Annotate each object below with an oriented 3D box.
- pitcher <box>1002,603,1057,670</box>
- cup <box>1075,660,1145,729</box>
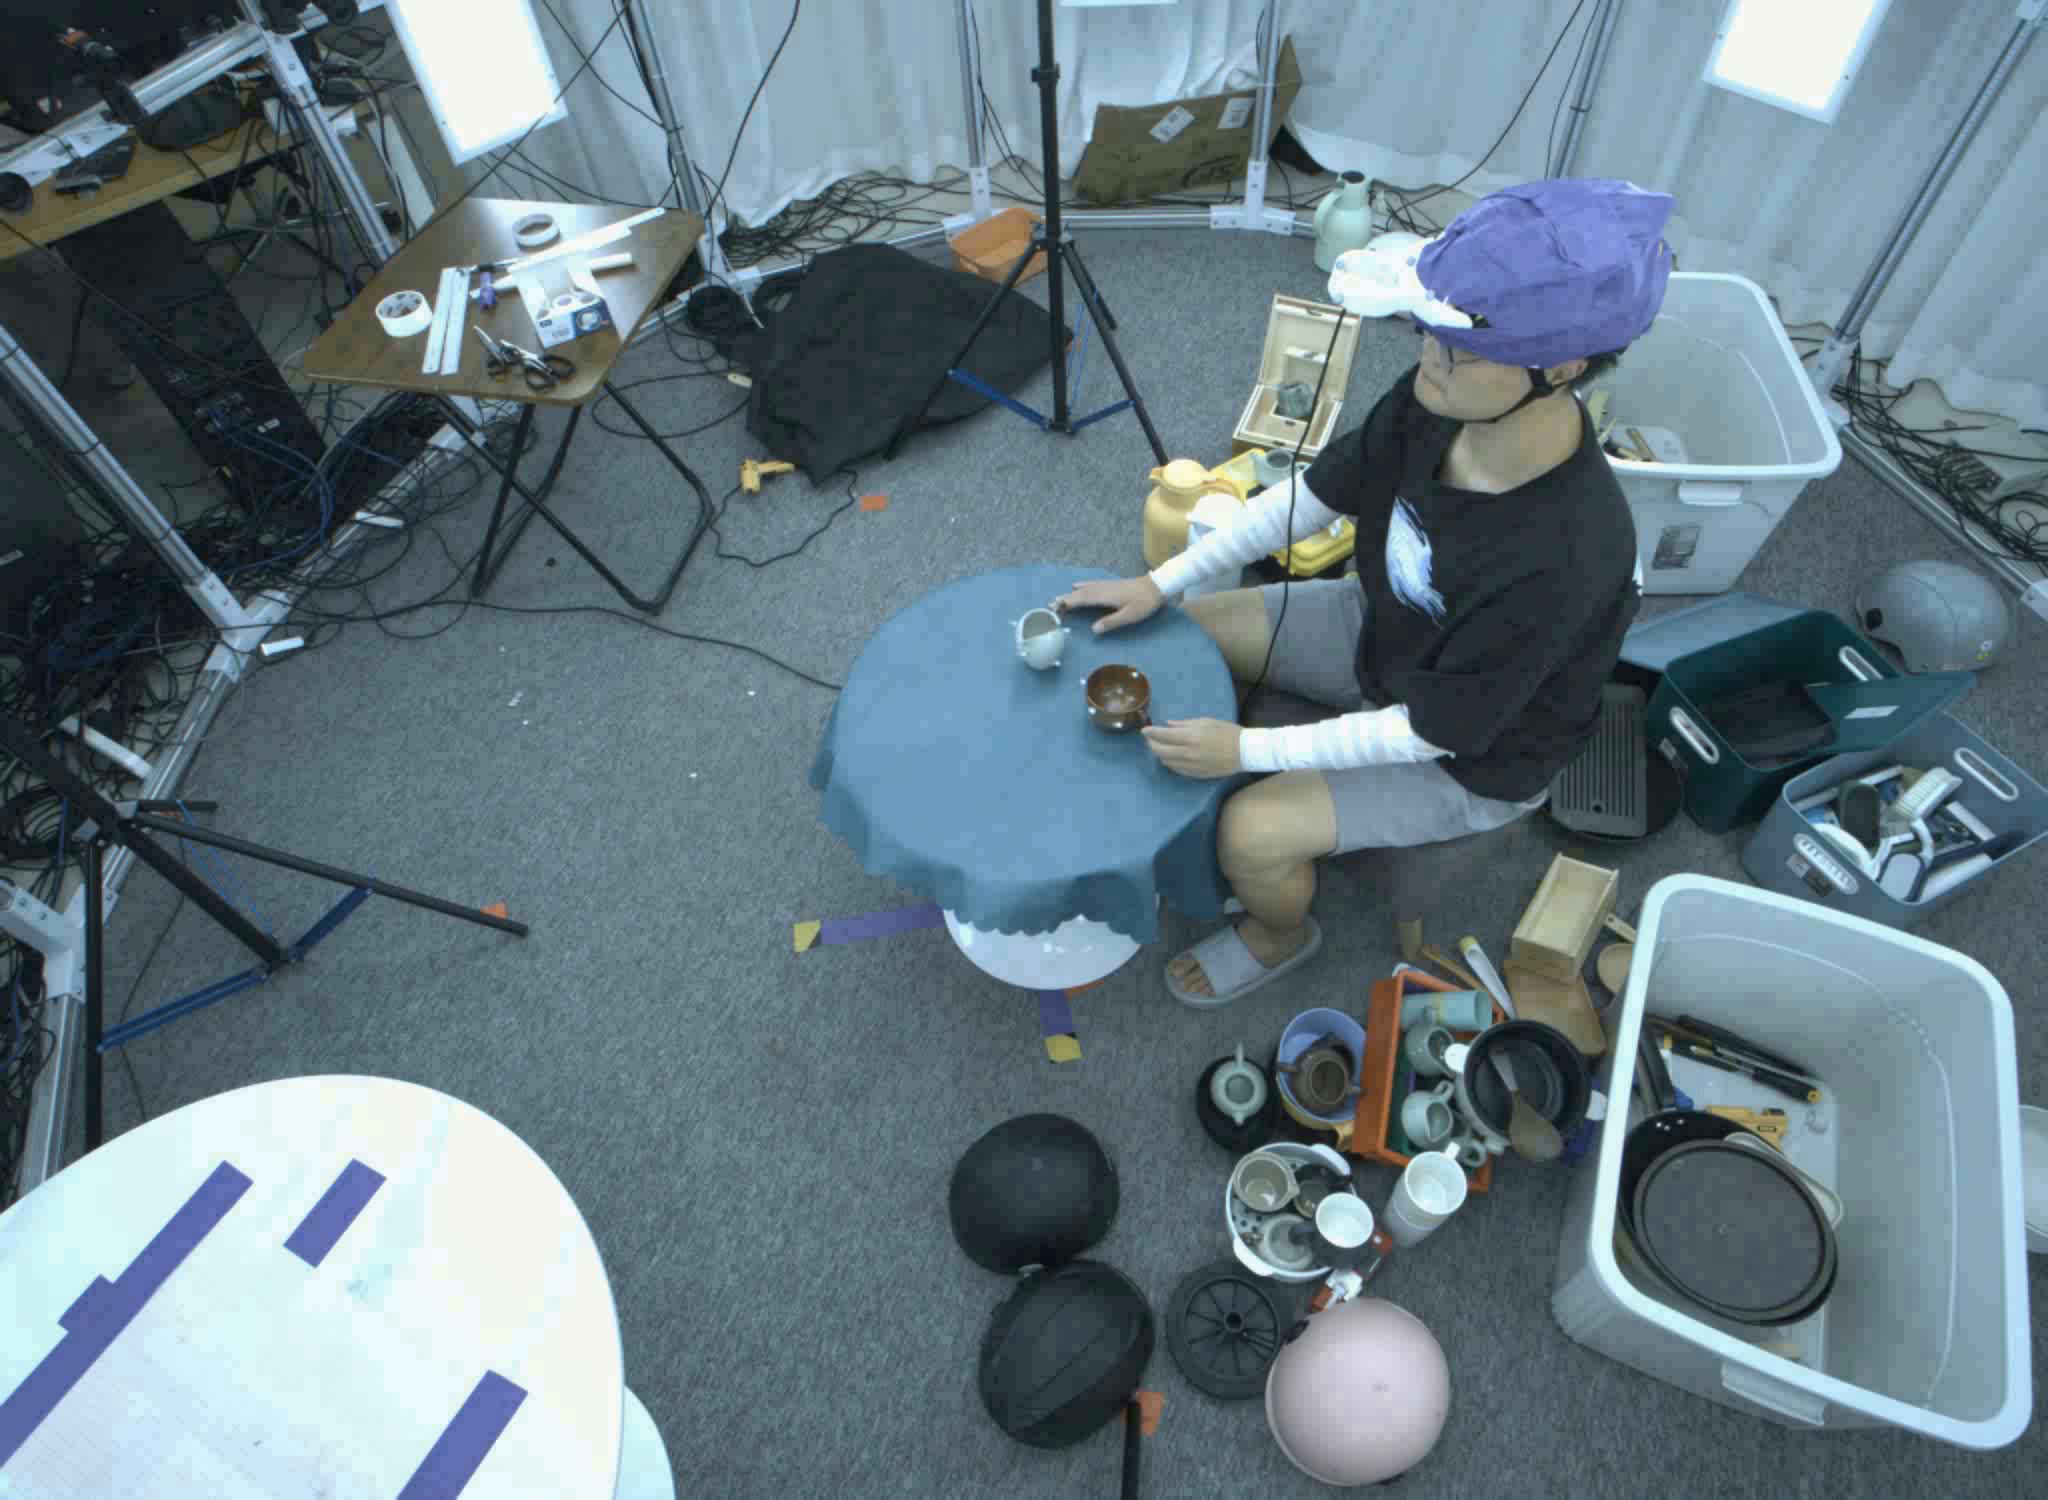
[{"bbox_3d":[0.010,-0.167,1.842,0.075,0.088,0.120,35,66,19],"label":"pitcher"},{"bbox_3d":[0.129,-0.066,1.781,0.097,0.068,0.117,-34,61,-24],"label":"cup"}]
